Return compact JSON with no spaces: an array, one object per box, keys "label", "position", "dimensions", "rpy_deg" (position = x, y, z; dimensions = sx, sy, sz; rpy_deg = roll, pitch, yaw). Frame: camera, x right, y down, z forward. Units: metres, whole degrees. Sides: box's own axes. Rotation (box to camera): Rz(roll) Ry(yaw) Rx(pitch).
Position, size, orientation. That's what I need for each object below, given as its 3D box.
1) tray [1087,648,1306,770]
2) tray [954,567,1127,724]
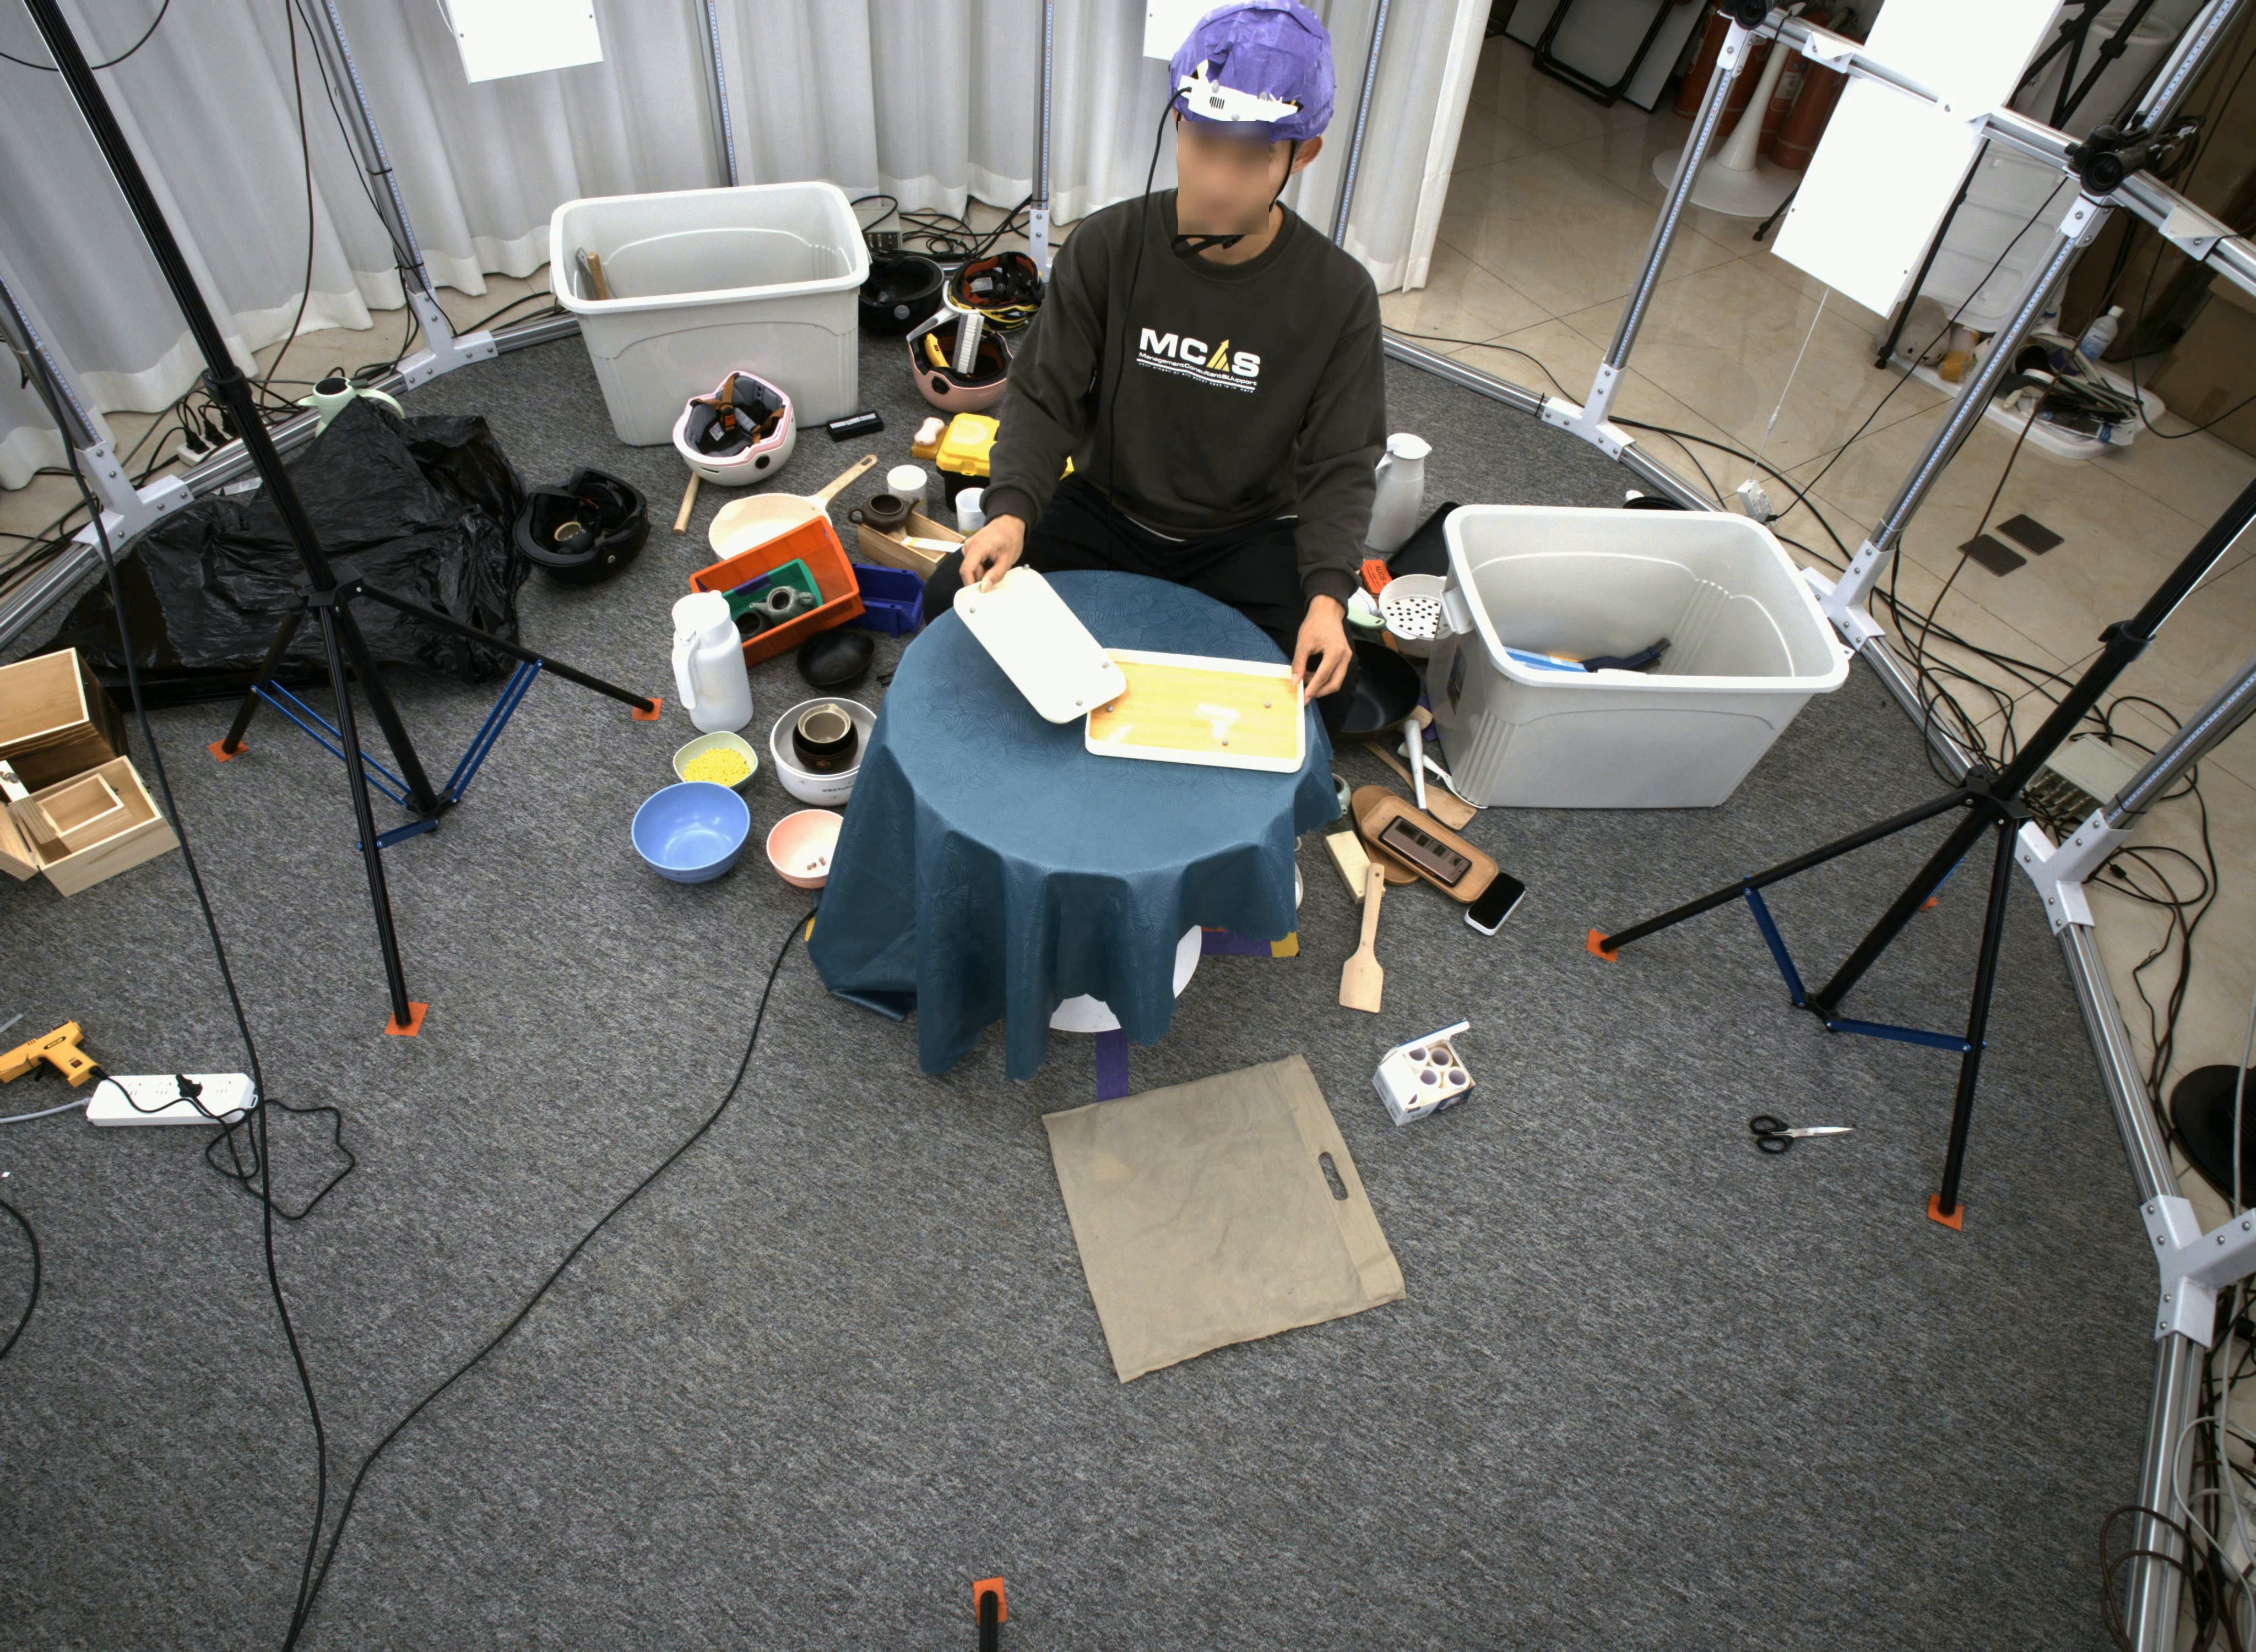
[{"label":"tray","position":[0.097,-0.166,1.799],"dimensions":[0.300,0.027,0.196],"rpy_deg":[5,48,0]},{"label":"tray","position":[-0.120,-0.252,1.781],"dimensions":[0.173,0.017,0.241],"rpy_deg":[-31,77,-42]}]
